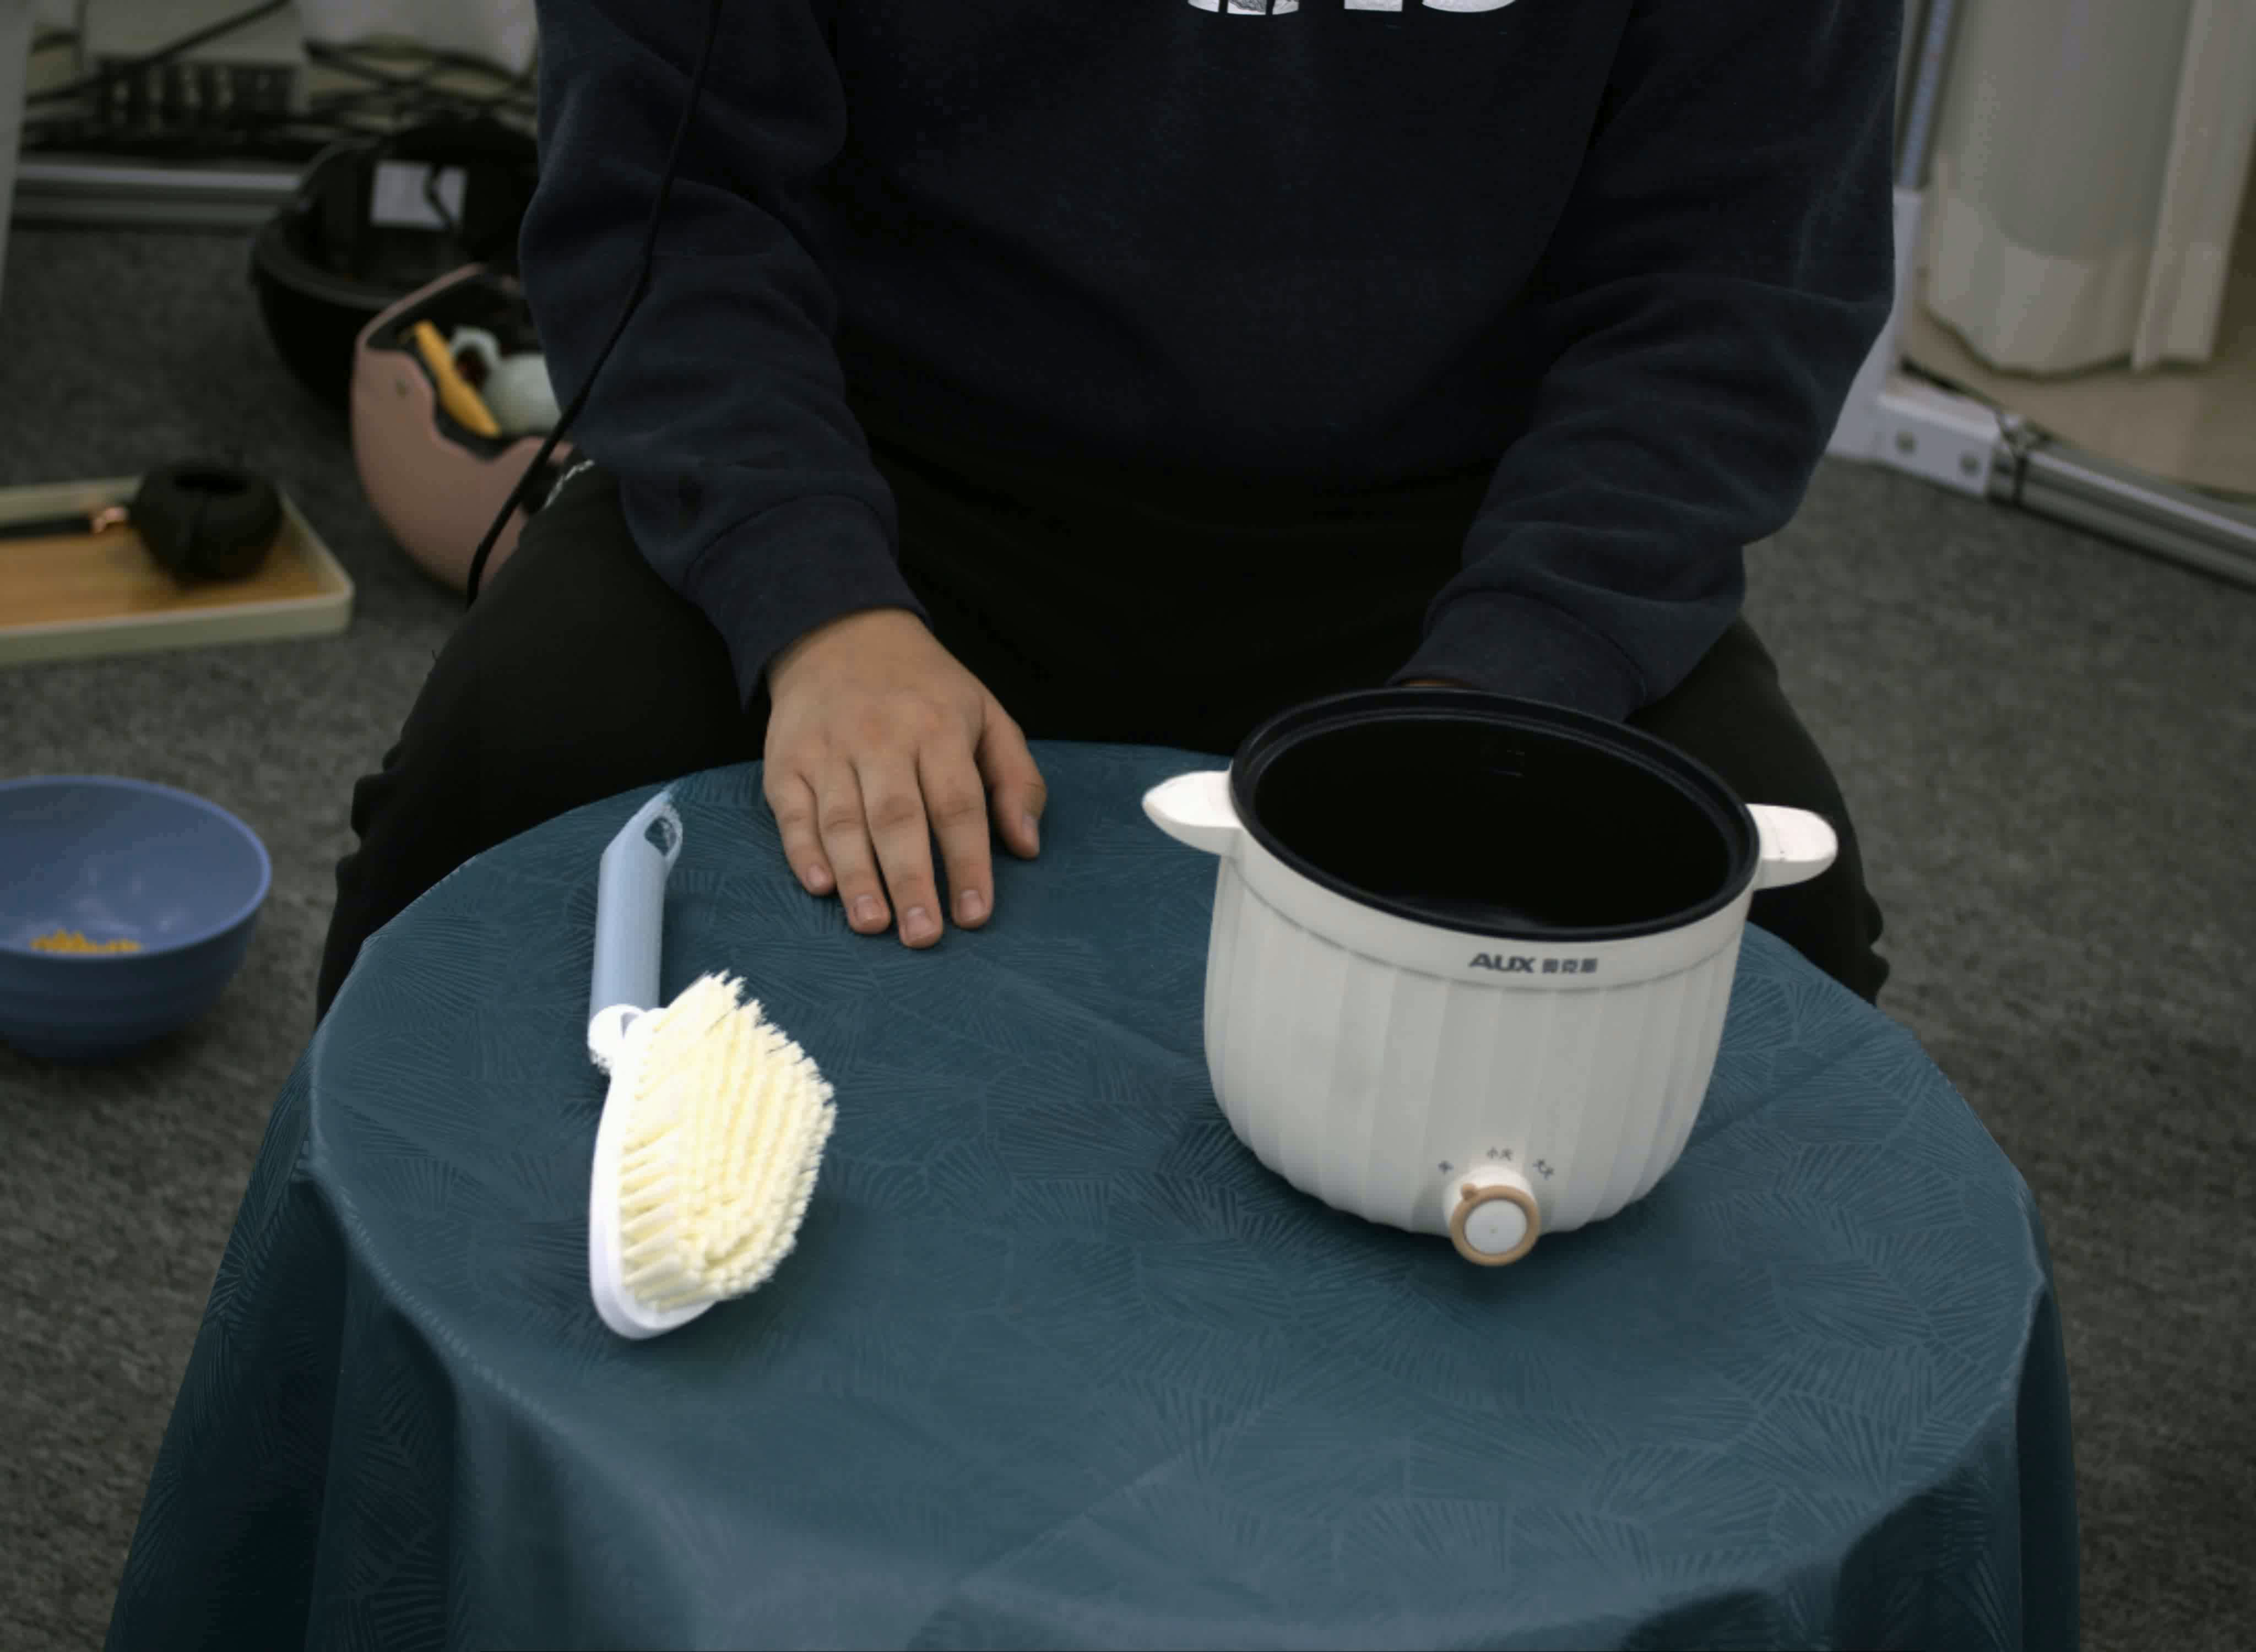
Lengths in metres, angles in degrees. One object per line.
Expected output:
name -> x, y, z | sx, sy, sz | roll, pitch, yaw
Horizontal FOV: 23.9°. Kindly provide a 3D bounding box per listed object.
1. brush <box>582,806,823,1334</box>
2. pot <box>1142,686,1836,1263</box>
brush -> -0.146, 0.058, 1.809 | 0.084, 0.083, 0.327 | -2, 29, -2
pot -> 0.118, 0.053, 1.820 | 0.239, 0.142, 0.192 | 2, 24, -7
